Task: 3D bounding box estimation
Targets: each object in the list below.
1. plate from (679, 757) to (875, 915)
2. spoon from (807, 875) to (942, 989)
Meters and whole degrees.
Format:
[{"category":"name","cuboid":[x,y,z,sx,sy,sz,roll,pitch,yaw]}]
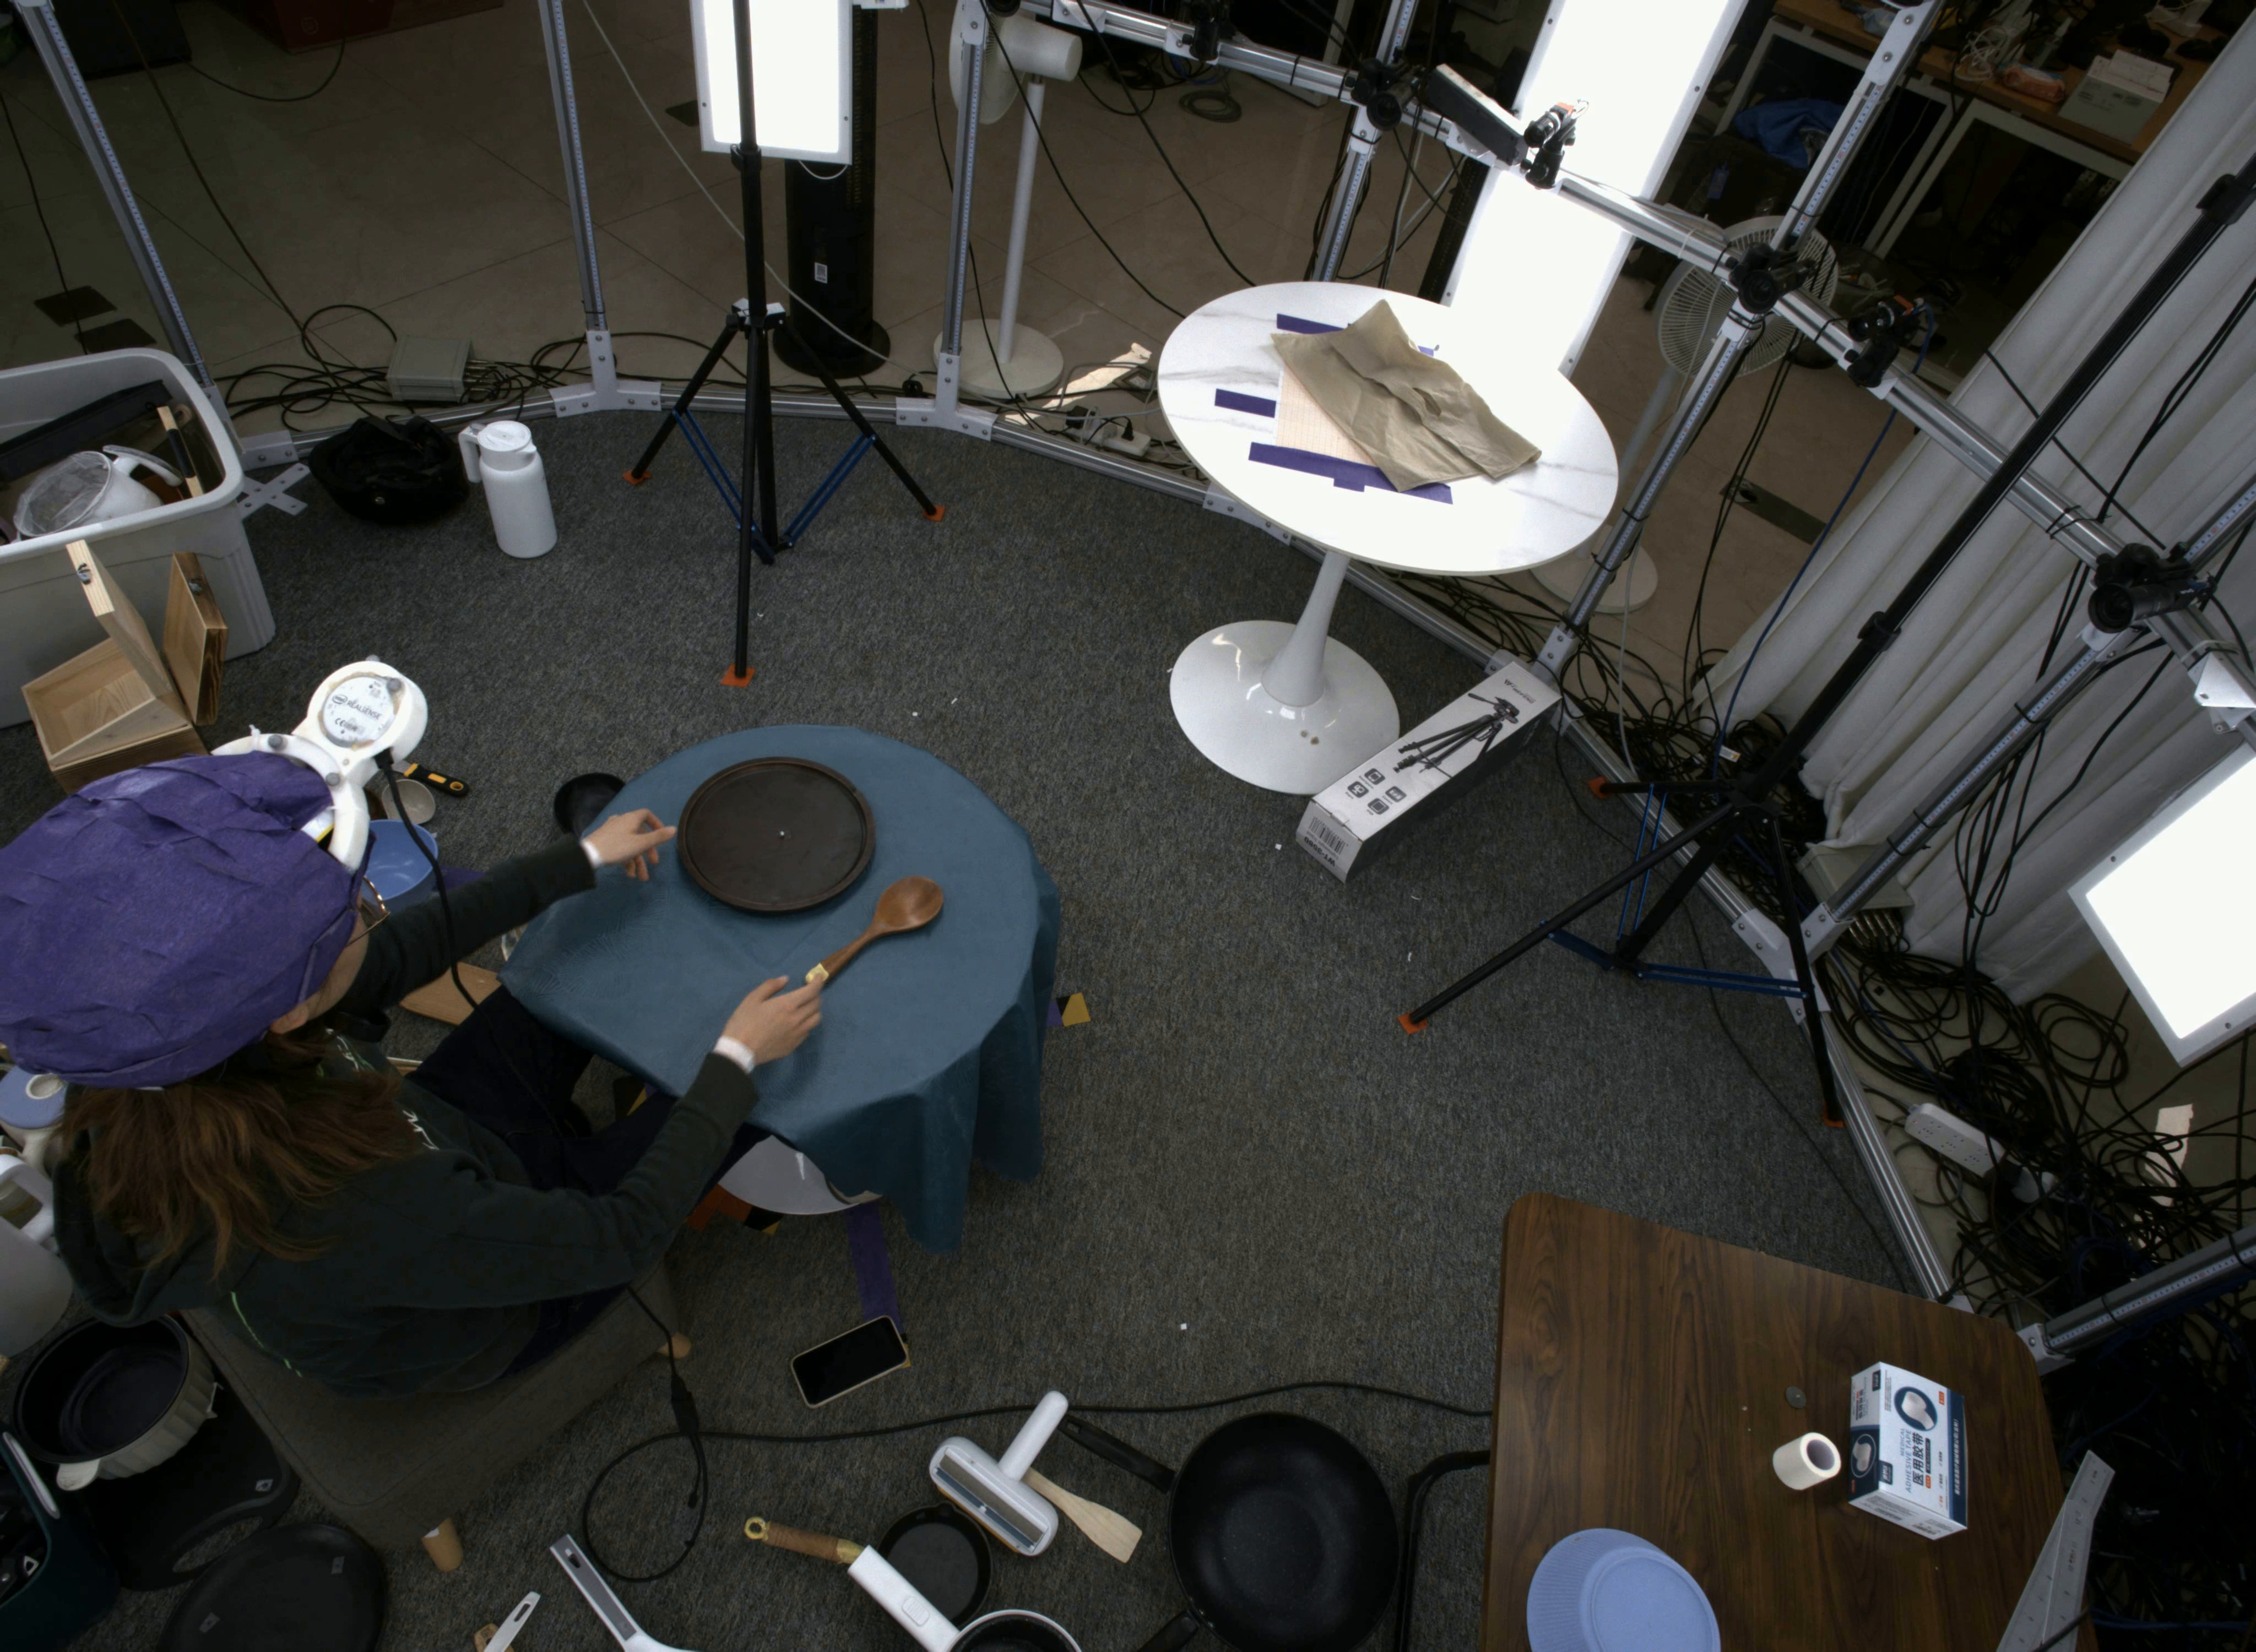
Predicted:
[{"category":"plate","cuboid":[-0.459,0.011,1.698,0.254,0.029,0.250,8,51,-8]},{"category":"spoon","cuboid":[-0.322,0.133,1.645,0.074,0.017,0.216,39,54,15]}]
